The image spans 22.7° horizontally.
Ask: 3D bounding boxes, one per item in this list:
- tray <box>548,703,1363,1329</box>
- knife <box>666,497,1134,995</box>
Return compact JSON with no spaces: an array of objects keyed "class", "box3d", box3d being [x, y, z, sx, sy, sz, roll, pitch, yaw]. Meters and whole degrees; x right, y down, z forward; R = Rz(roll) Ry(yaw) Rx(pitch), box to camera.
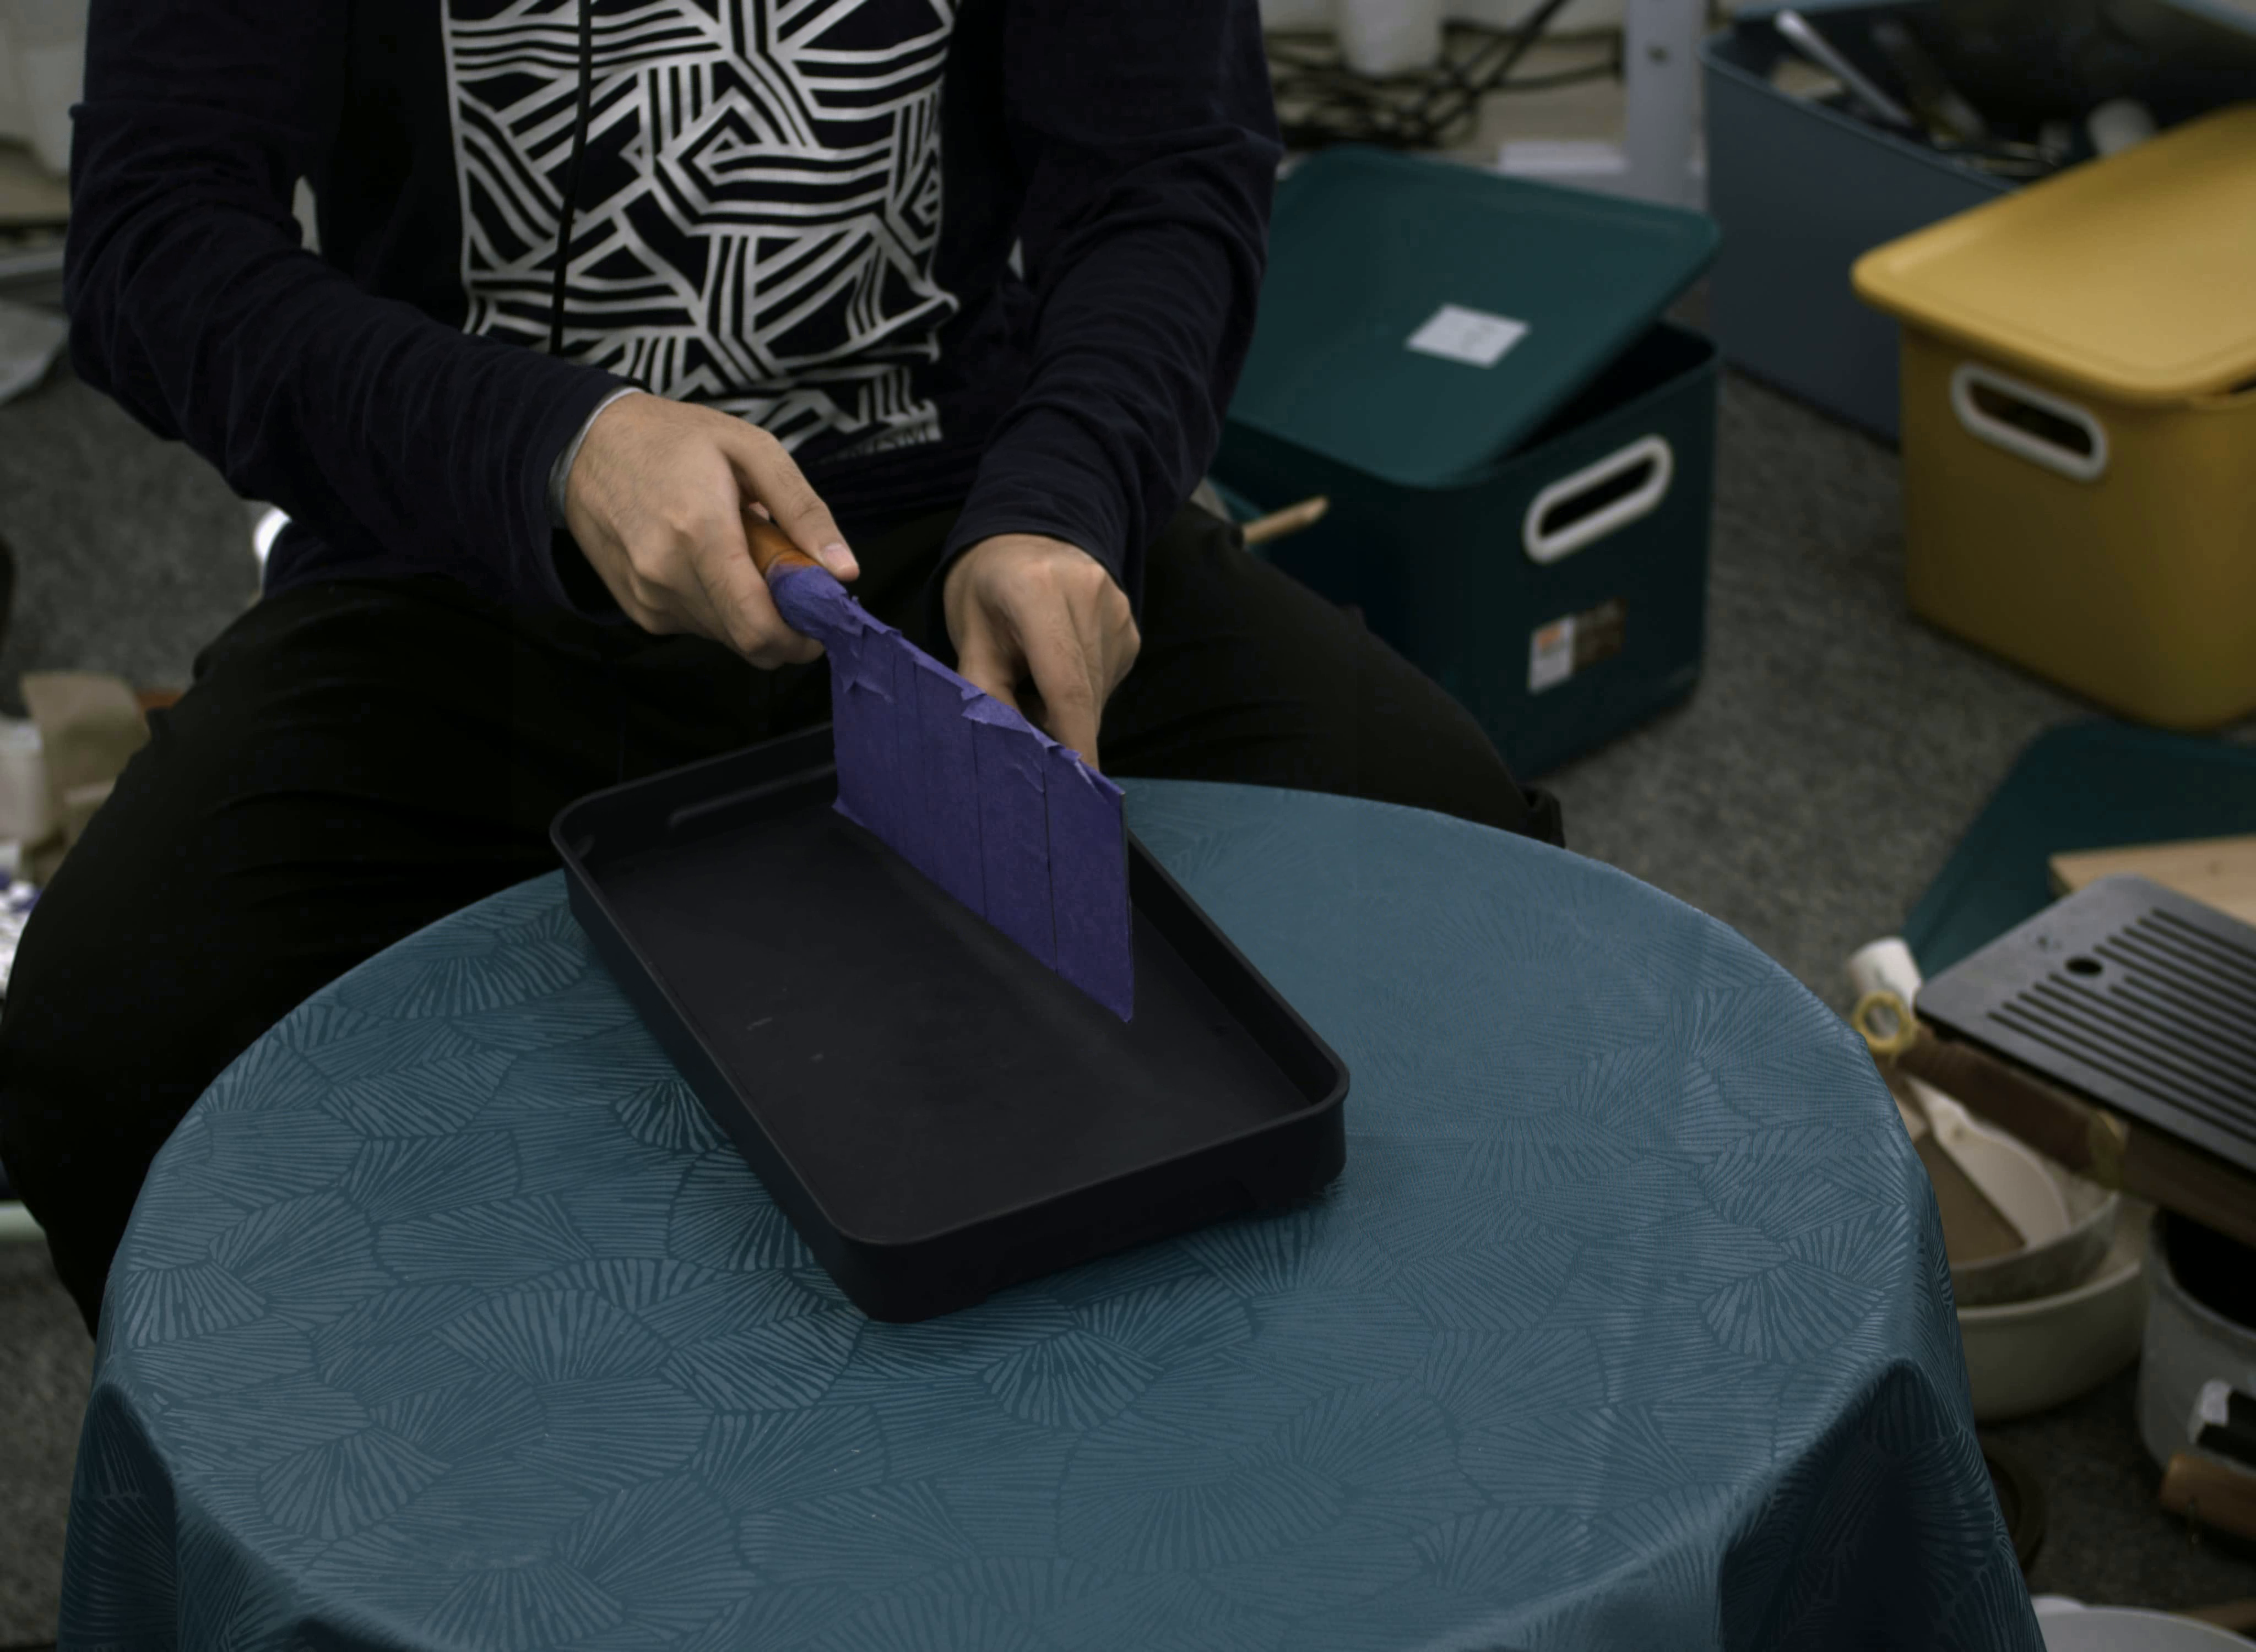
[{"class":"tray","box3d":[-0.064,0.058,1.932,0.185,0.036,0.320,-17,32,-20]},{"class":"knife","box3d":[-0.084,-0.028,1.993,0.032,0.103,0.316,-14,27,-26]}]
